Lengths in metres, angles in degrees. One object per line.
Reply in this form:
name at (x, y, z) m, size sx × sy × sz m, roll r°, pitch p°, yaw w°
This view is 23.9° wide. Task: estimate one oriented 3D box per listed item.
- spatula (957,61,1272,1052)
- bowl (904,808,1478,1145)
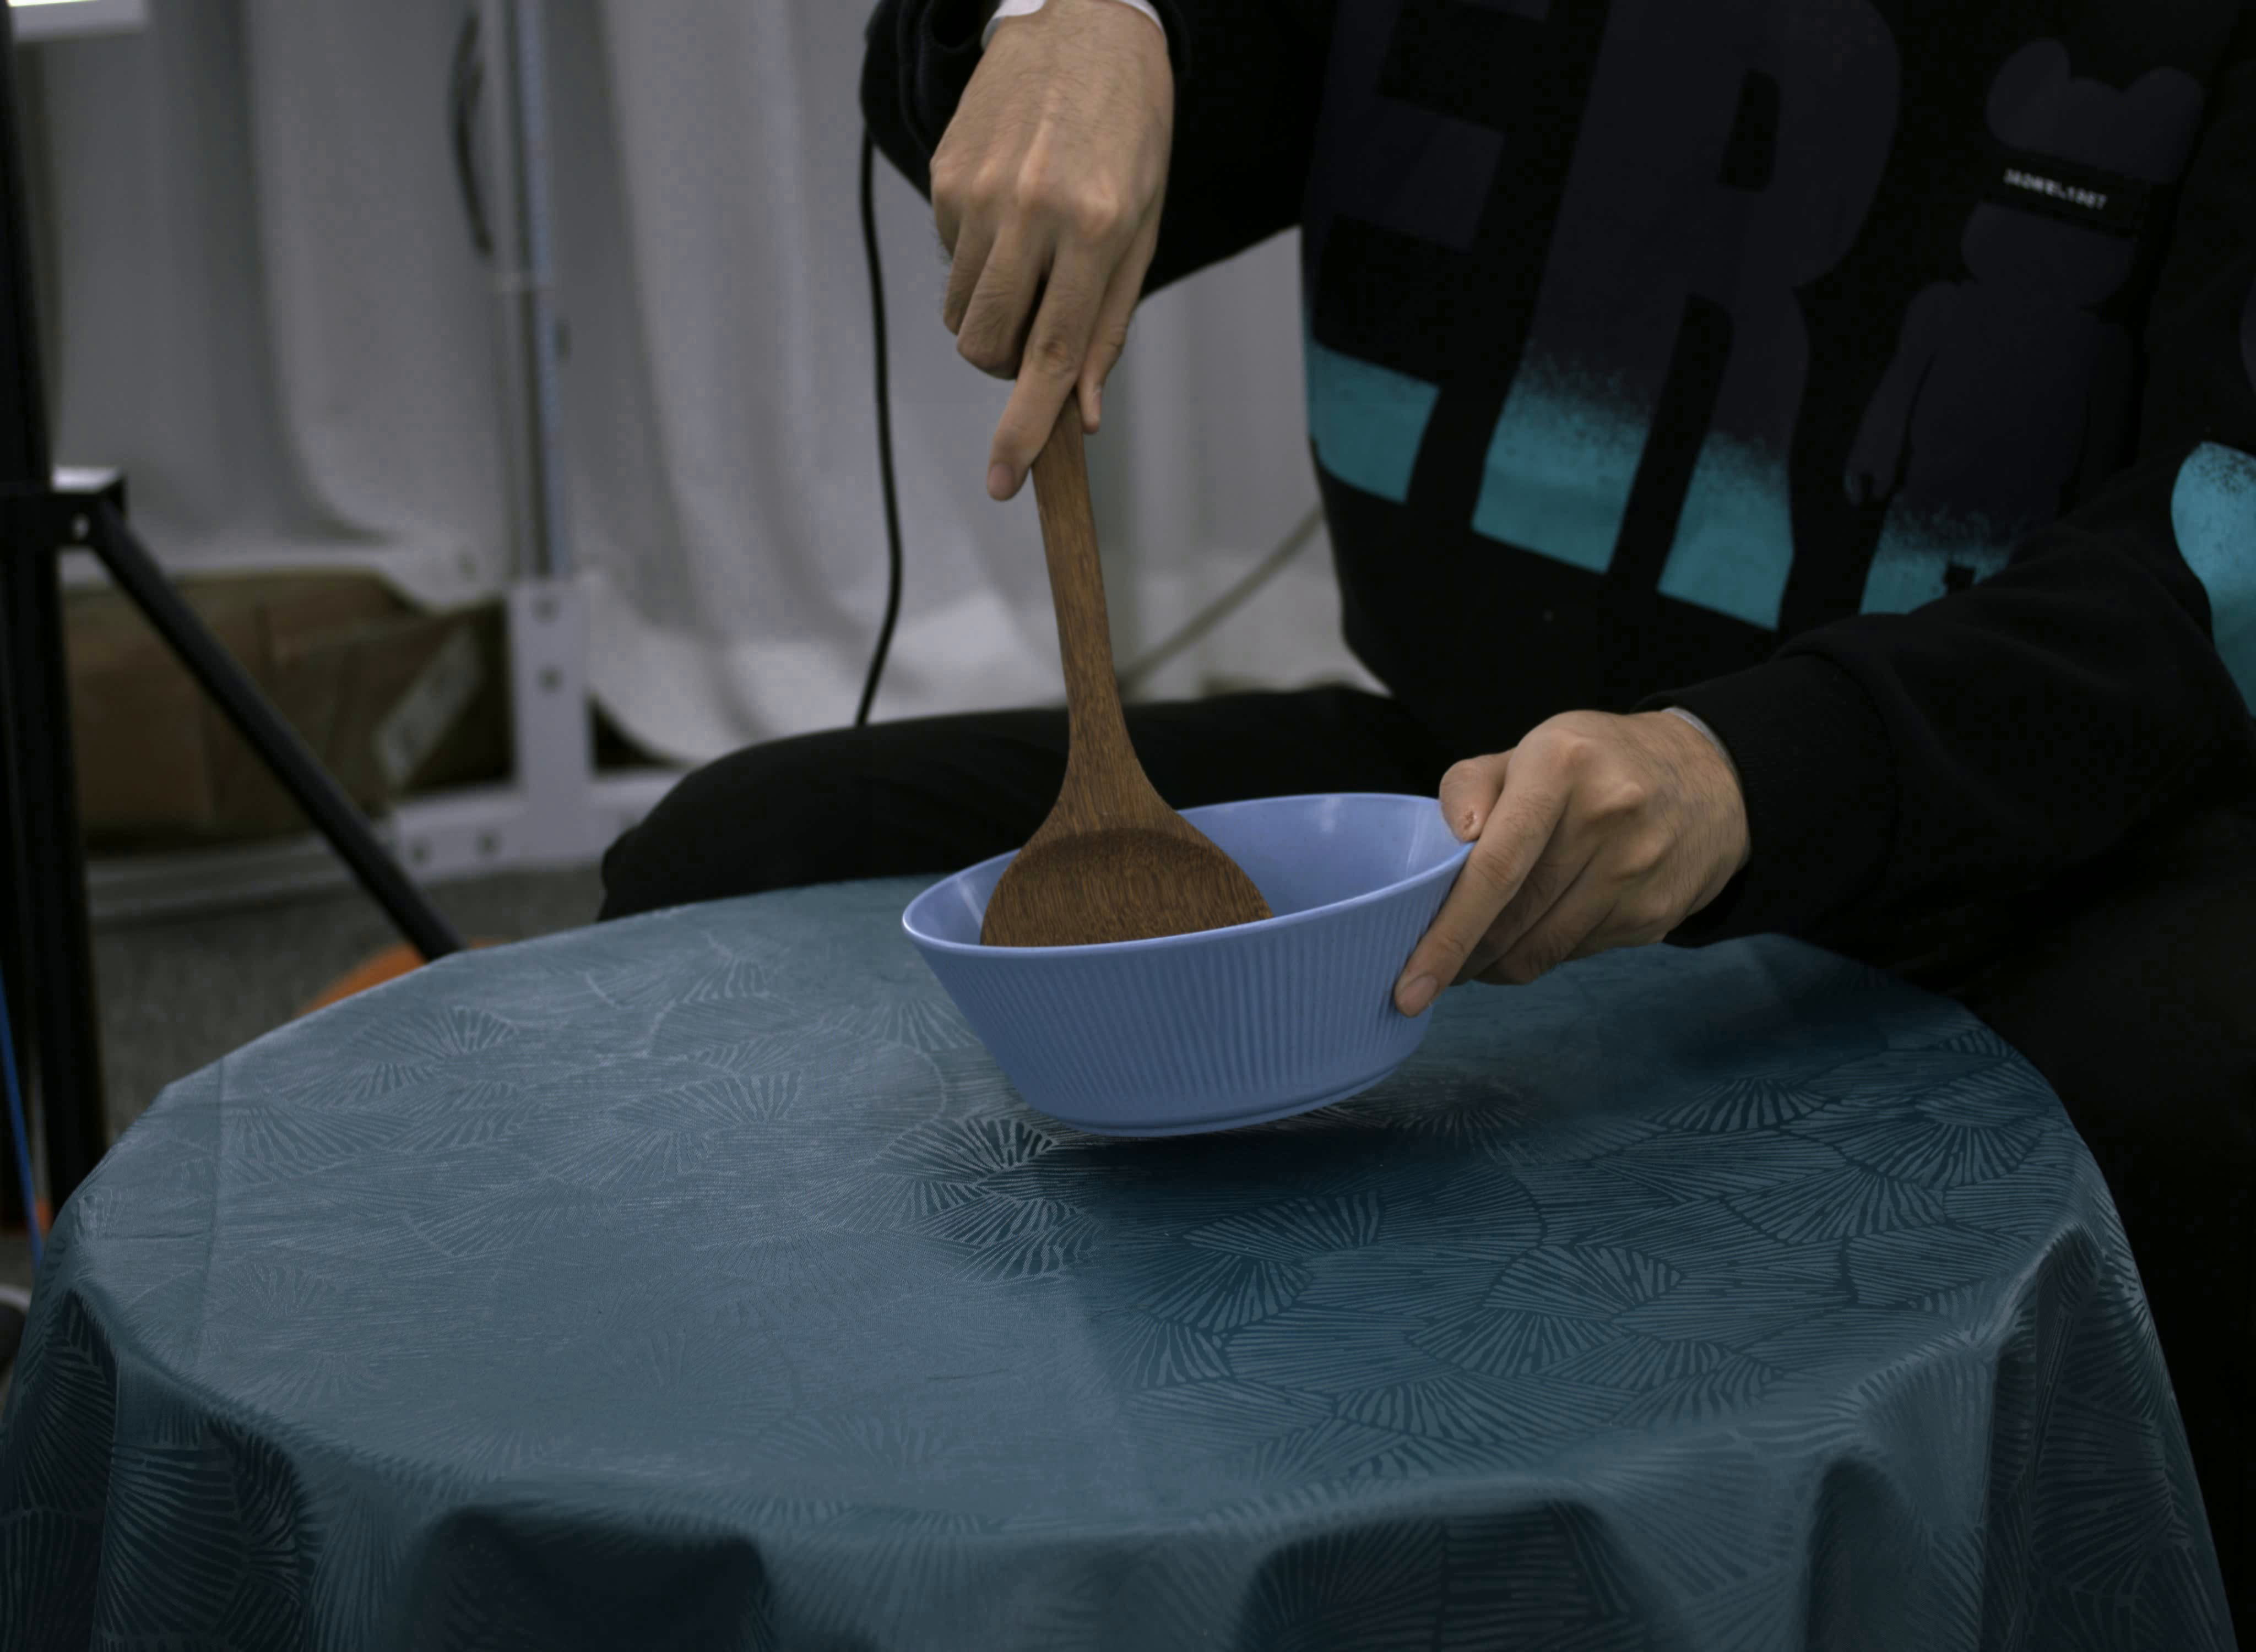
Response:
spatula at (-0.018, -0.088, 1.676) m, size 0.095 × 0.016 × 0.391 m, roll -5°, pitch 60°, yaw -7°
bowl at (0.025, 0.048, 1.589) m, size 0.175 × 0.070 × 0.176 m, roll -12°, pitch 9°, yaw 0°
